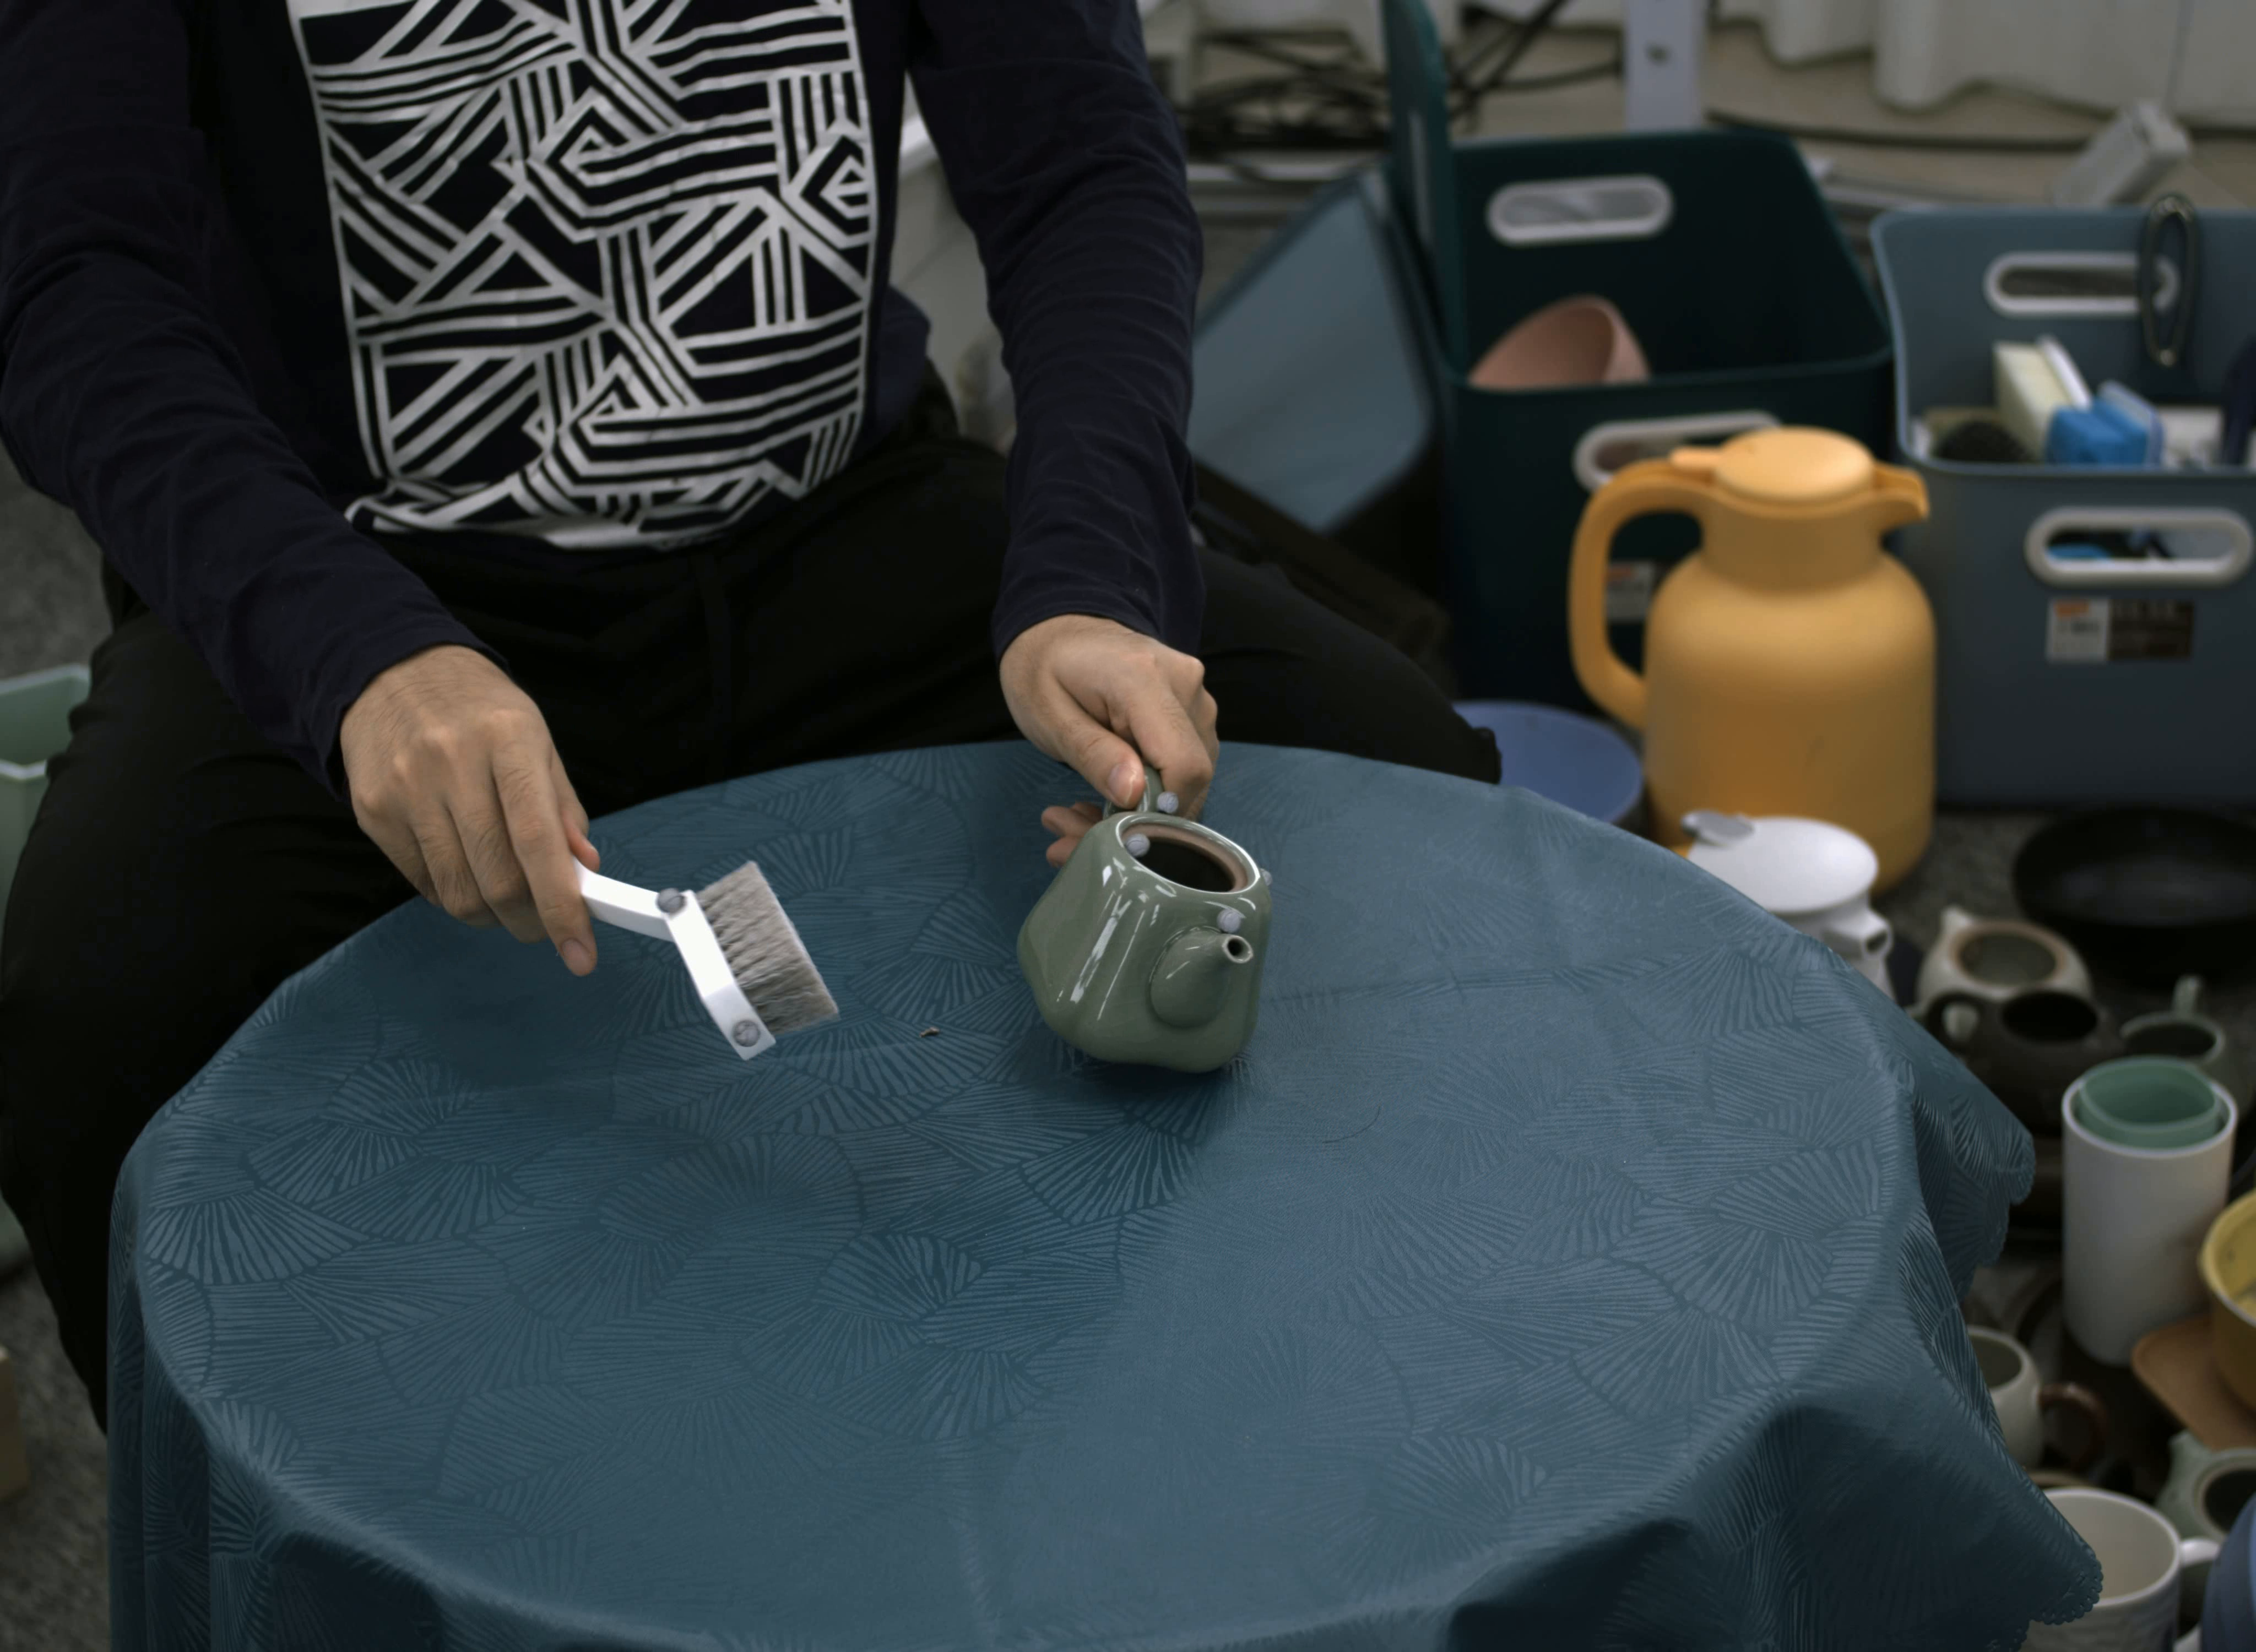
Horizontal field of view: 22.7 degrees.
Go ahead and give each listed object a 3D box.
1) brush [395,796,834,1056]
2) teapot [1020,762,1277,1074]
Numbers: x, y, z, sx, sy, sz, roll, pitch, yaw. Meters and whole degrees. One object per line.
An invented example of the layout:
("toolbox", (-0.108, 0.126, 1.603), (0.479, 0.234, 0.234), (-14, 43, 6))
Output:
("brush", (-0.172, 0.025, 1.902), (0.050, 0.034, 0.243), (-22, 28, -29))
("teapot", (0.011, 0.037, 1.926), (0.079, 0.074, 0.134), (11, 26, -25))
